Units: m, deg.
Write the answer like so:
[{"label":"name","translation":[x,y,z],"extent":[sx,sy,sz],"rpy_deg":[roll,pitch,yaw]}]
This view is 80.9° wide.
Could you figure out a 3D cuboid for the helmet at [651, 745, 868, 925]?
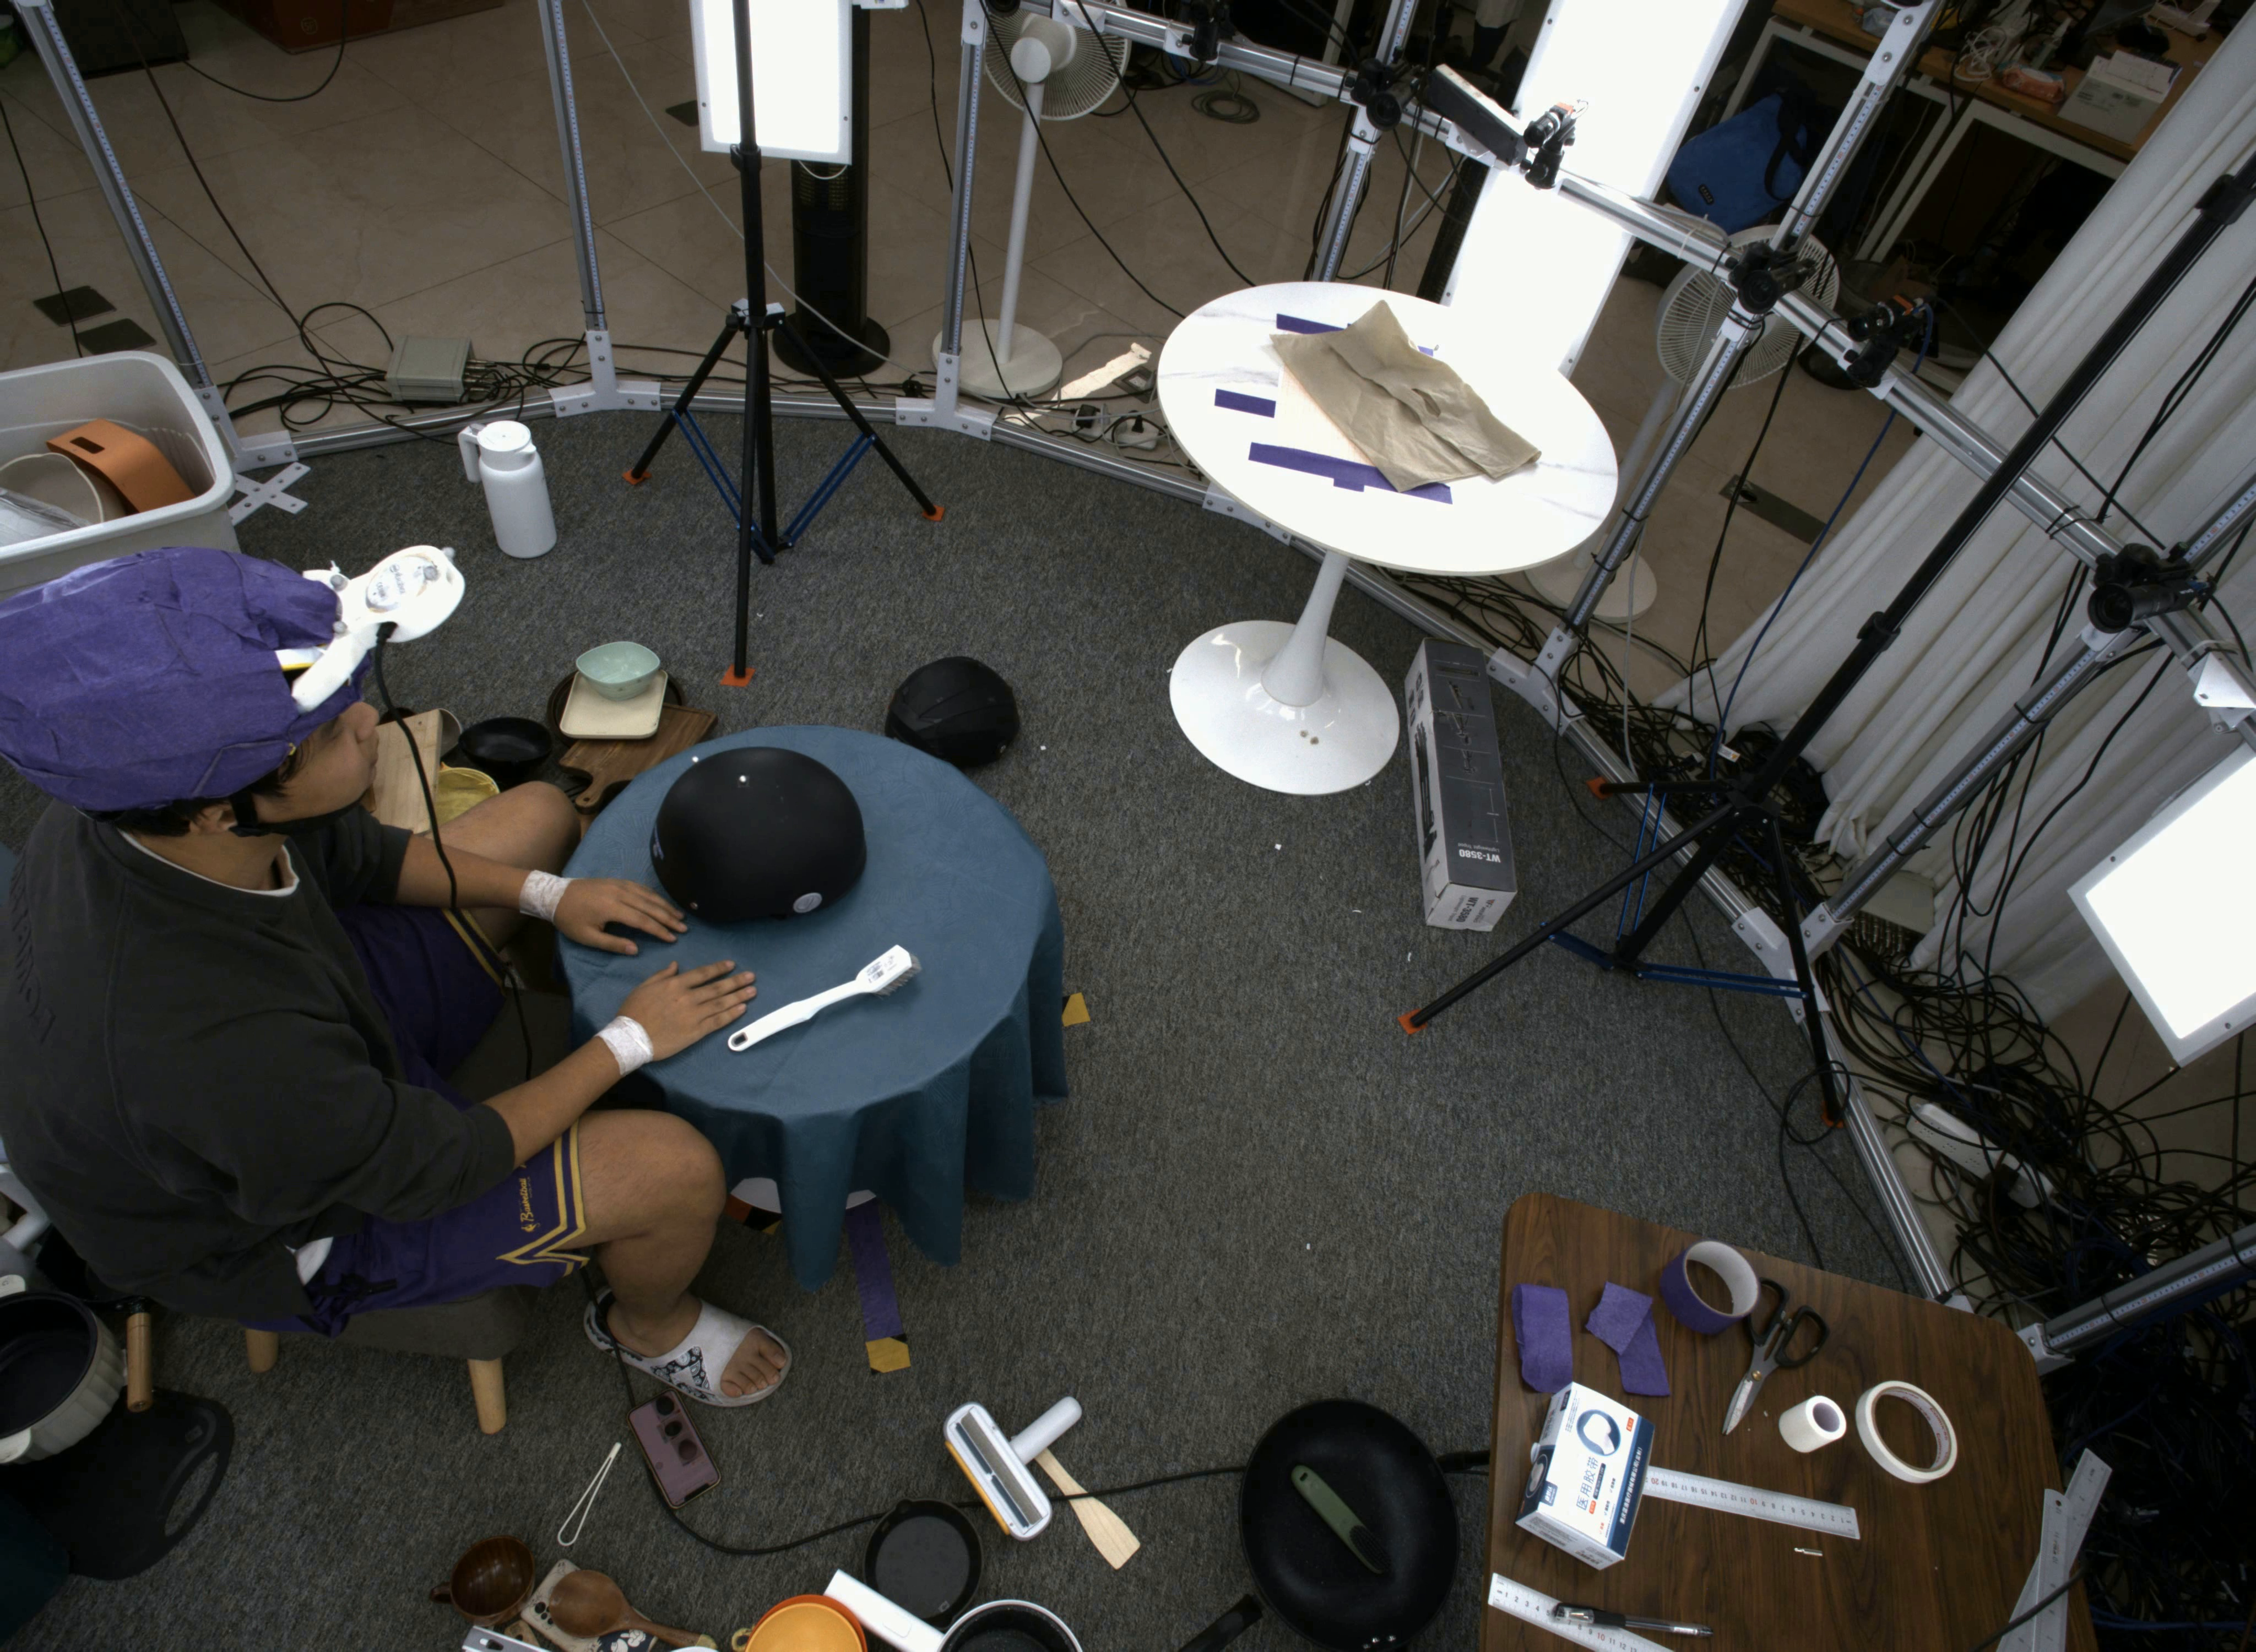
[{"label":"helmet","translation":[-0.462,-0.007,1.623],"extent":[0.274,0.170,0.225],"rpy_deg":[-7,57,-20]}]

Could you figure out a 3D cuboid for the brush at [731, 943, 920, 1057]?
[{"label":"brush","translation":[-0.364,0.215,1.570],"extent":[0.243,0.051,0.033],"rpy_deg":[-30,63,-16]}]
